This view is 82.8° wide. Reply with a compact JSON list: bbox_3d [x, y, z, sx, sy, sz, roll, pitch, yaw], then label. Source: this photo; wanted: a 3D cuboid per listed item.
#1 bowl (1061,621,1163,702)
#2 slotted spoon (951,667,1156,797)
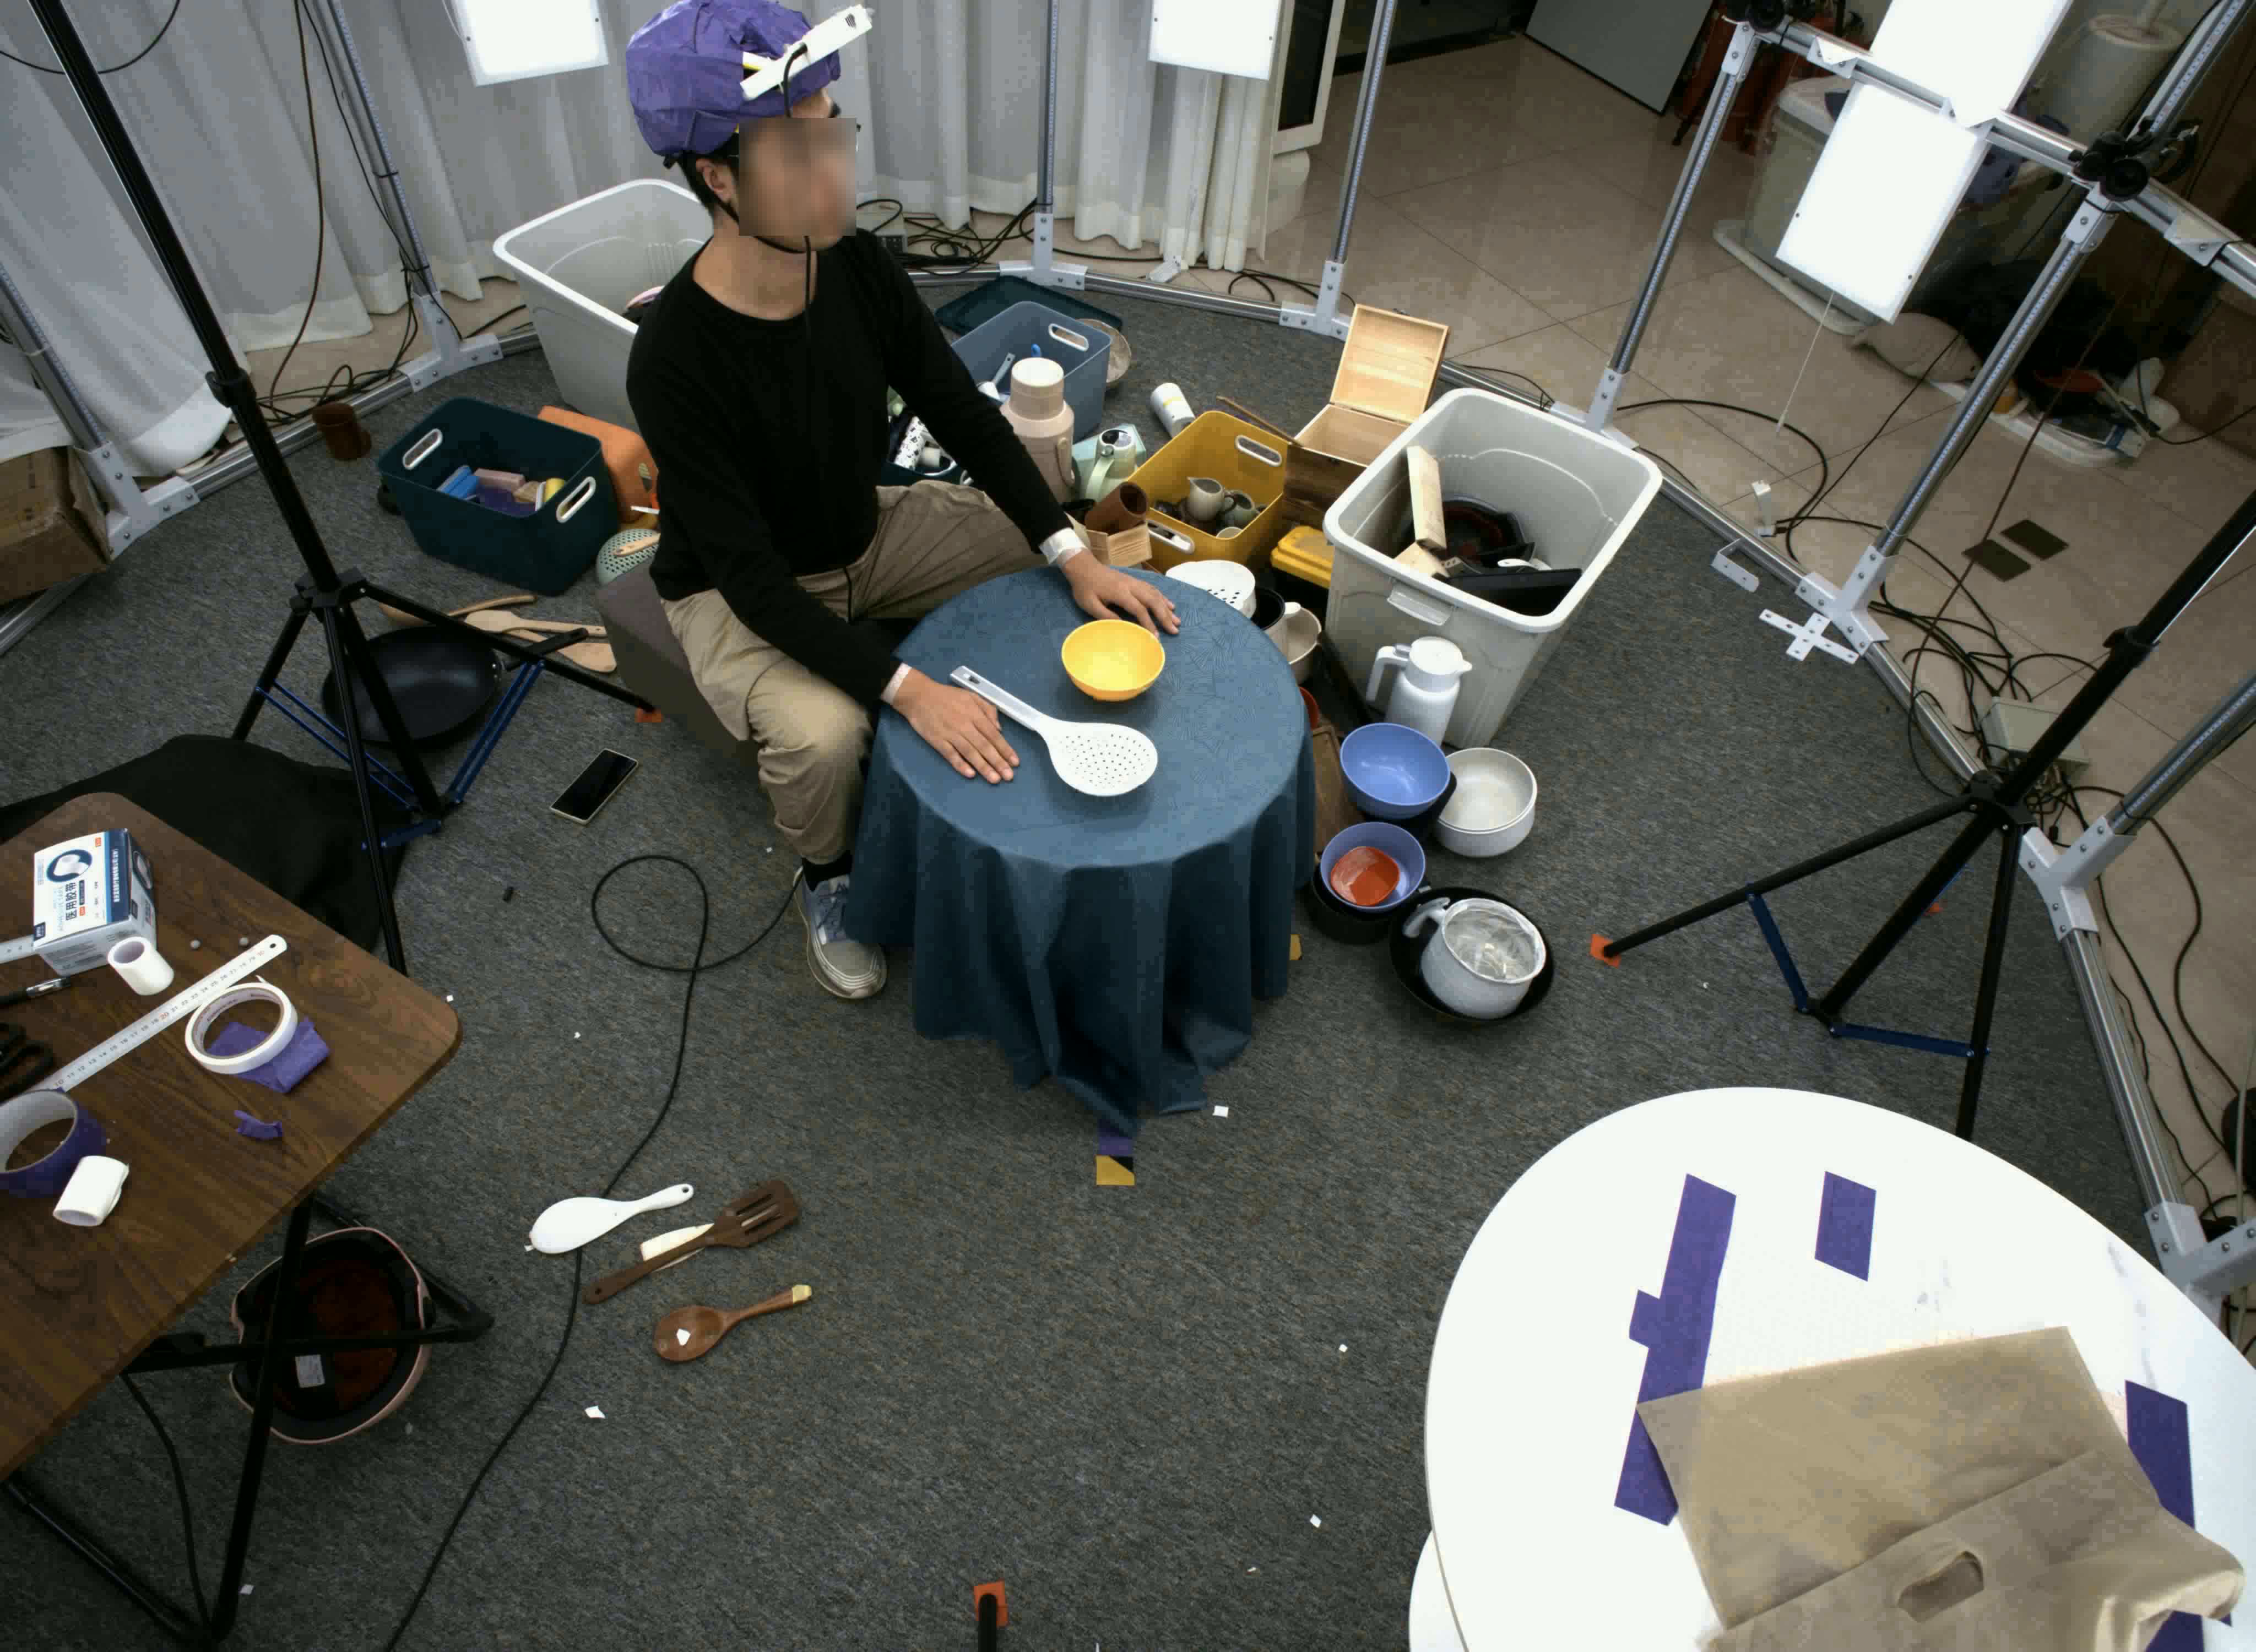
[{"bbox_3d":[-0.025,-0.222,1.825,0.145,0.058,0.149,3,48,-4],"label":"bowl"},{"bbox_3d":[-0.113,-0.135,1.750,0.354,0.044,0.137,34,55,25],"label":"slotted spoon"}]
